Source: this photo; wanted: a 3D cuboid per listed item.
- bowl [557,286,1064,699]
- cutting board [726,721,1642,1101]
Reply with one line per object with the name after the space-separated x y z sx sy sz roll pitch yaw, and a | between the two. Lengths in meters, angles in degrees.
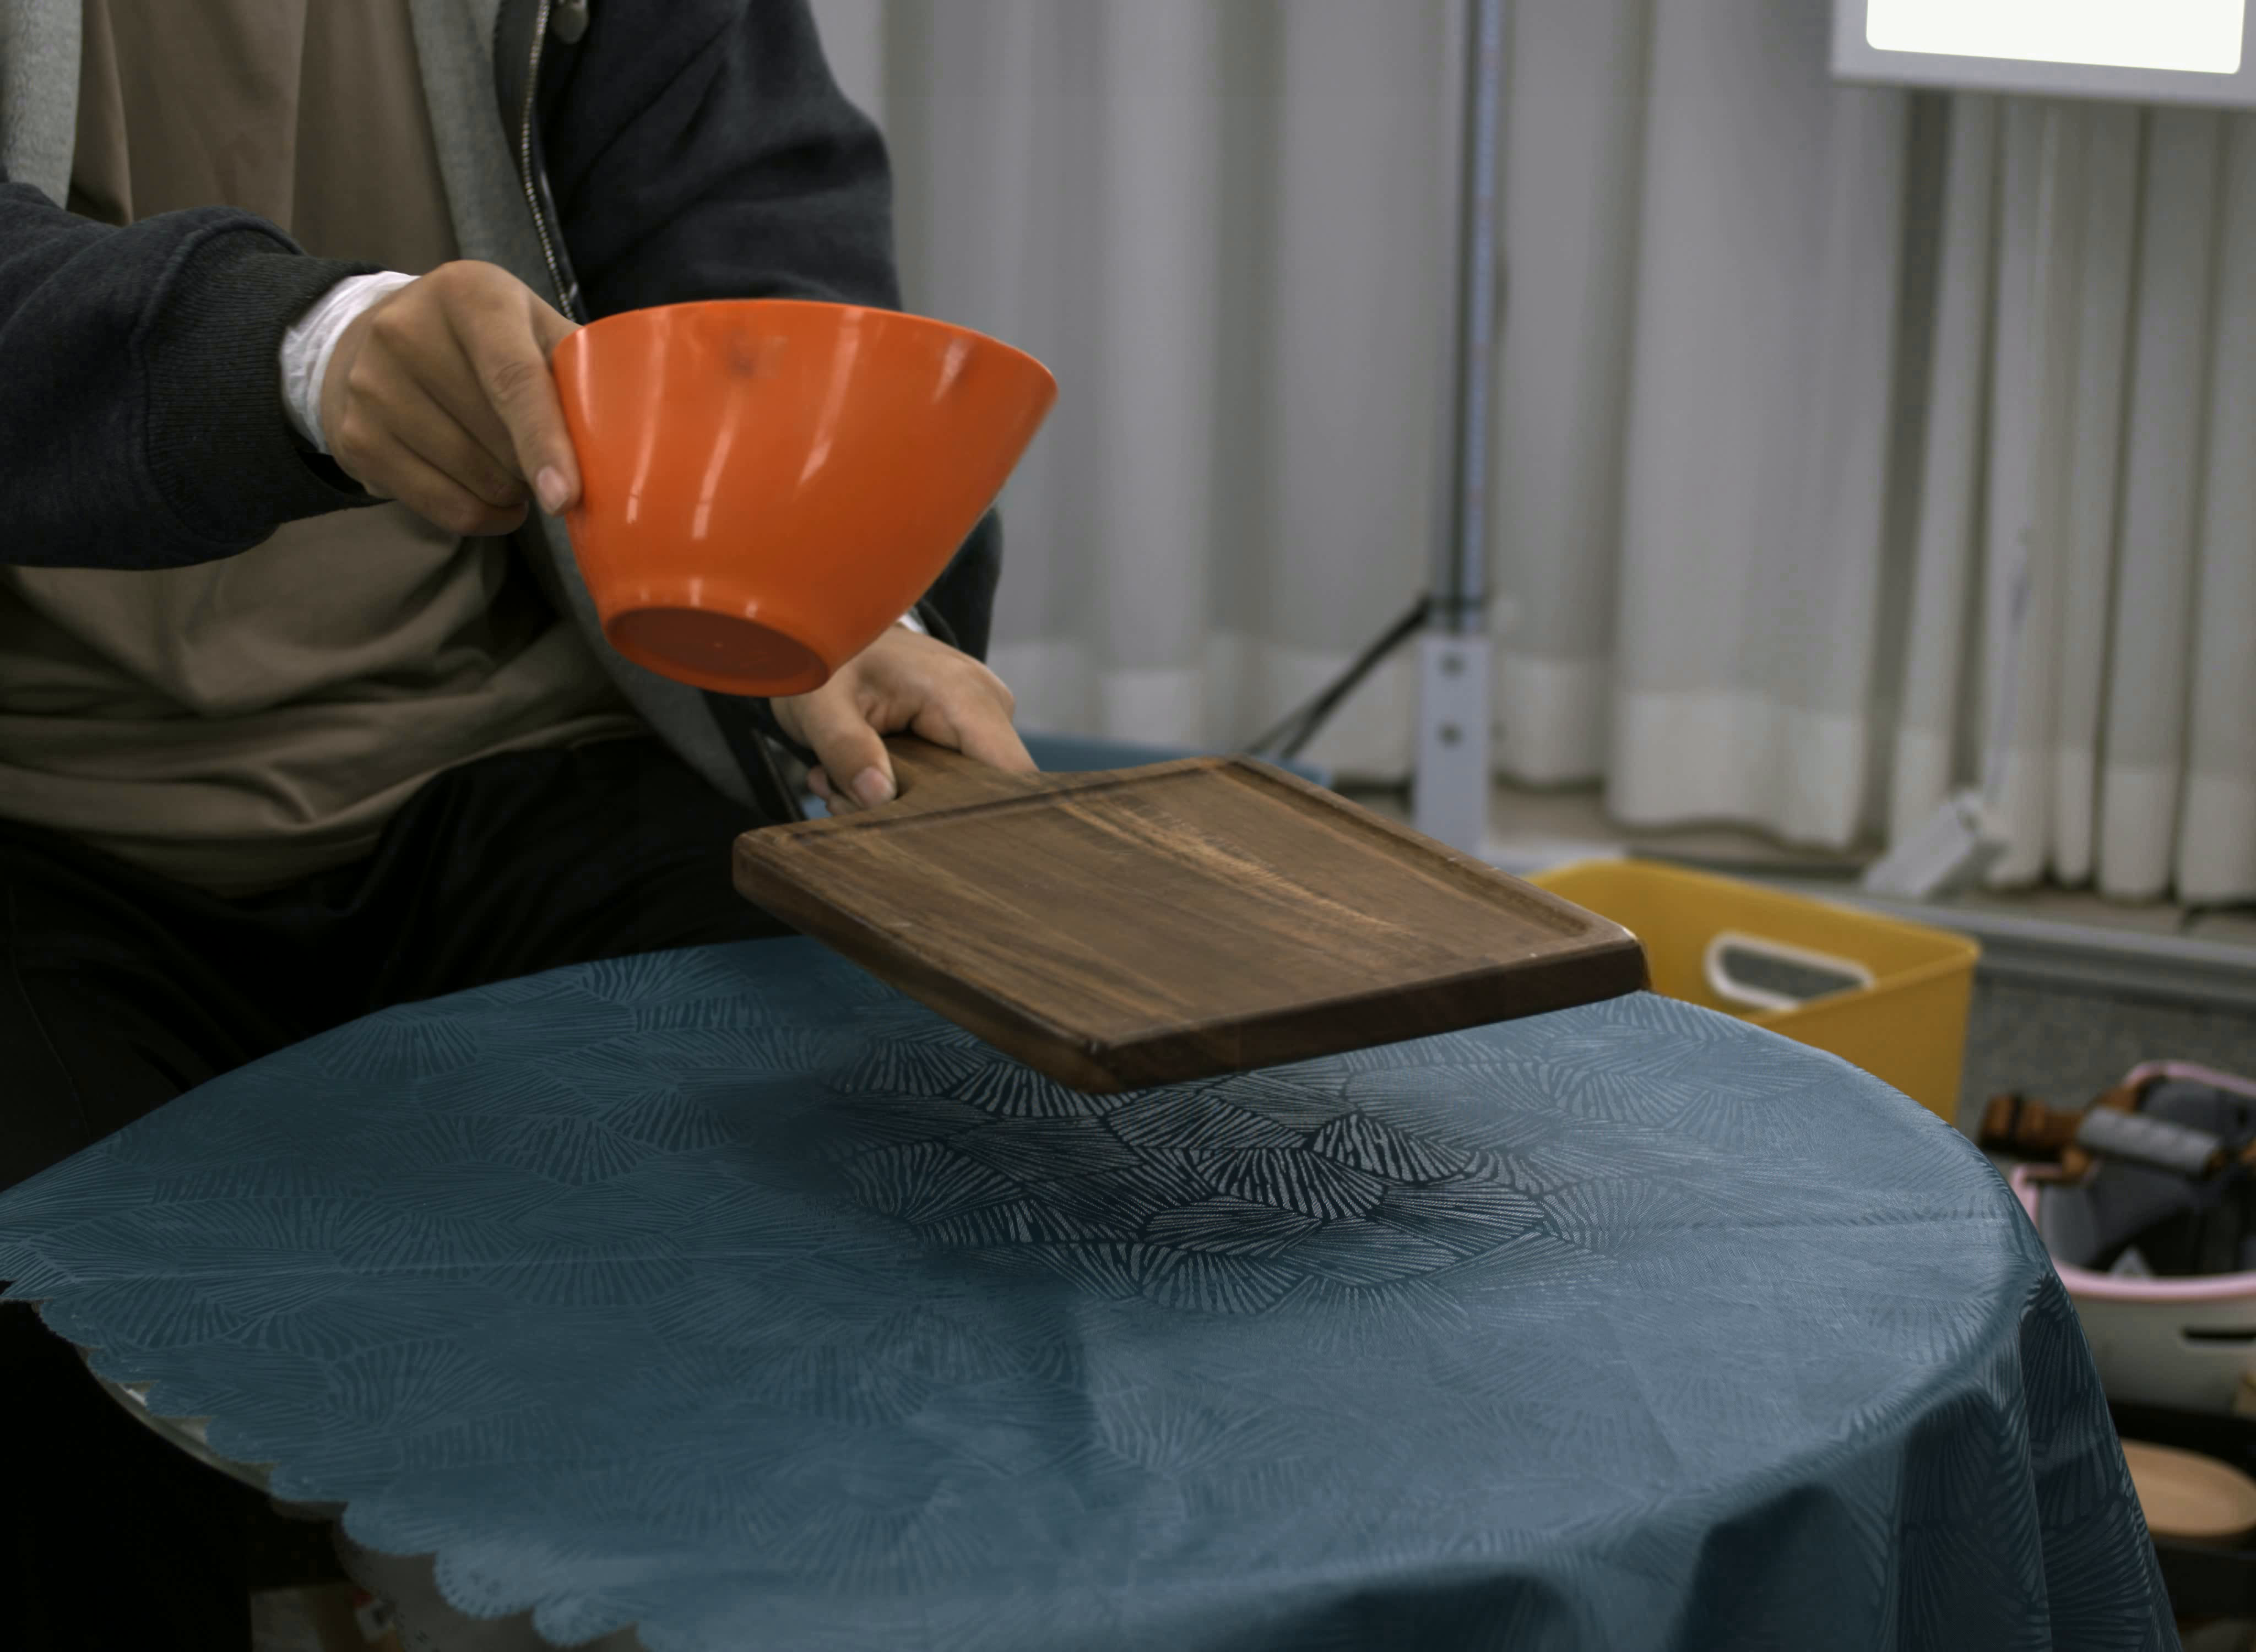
-0.100 -0.093 1.524 0.147 0.104 0.149 10 -20 4 | bowl
-0.011 0.015 1.695 0.202 0.023 0.347 -10 19 -28 | cutting board
